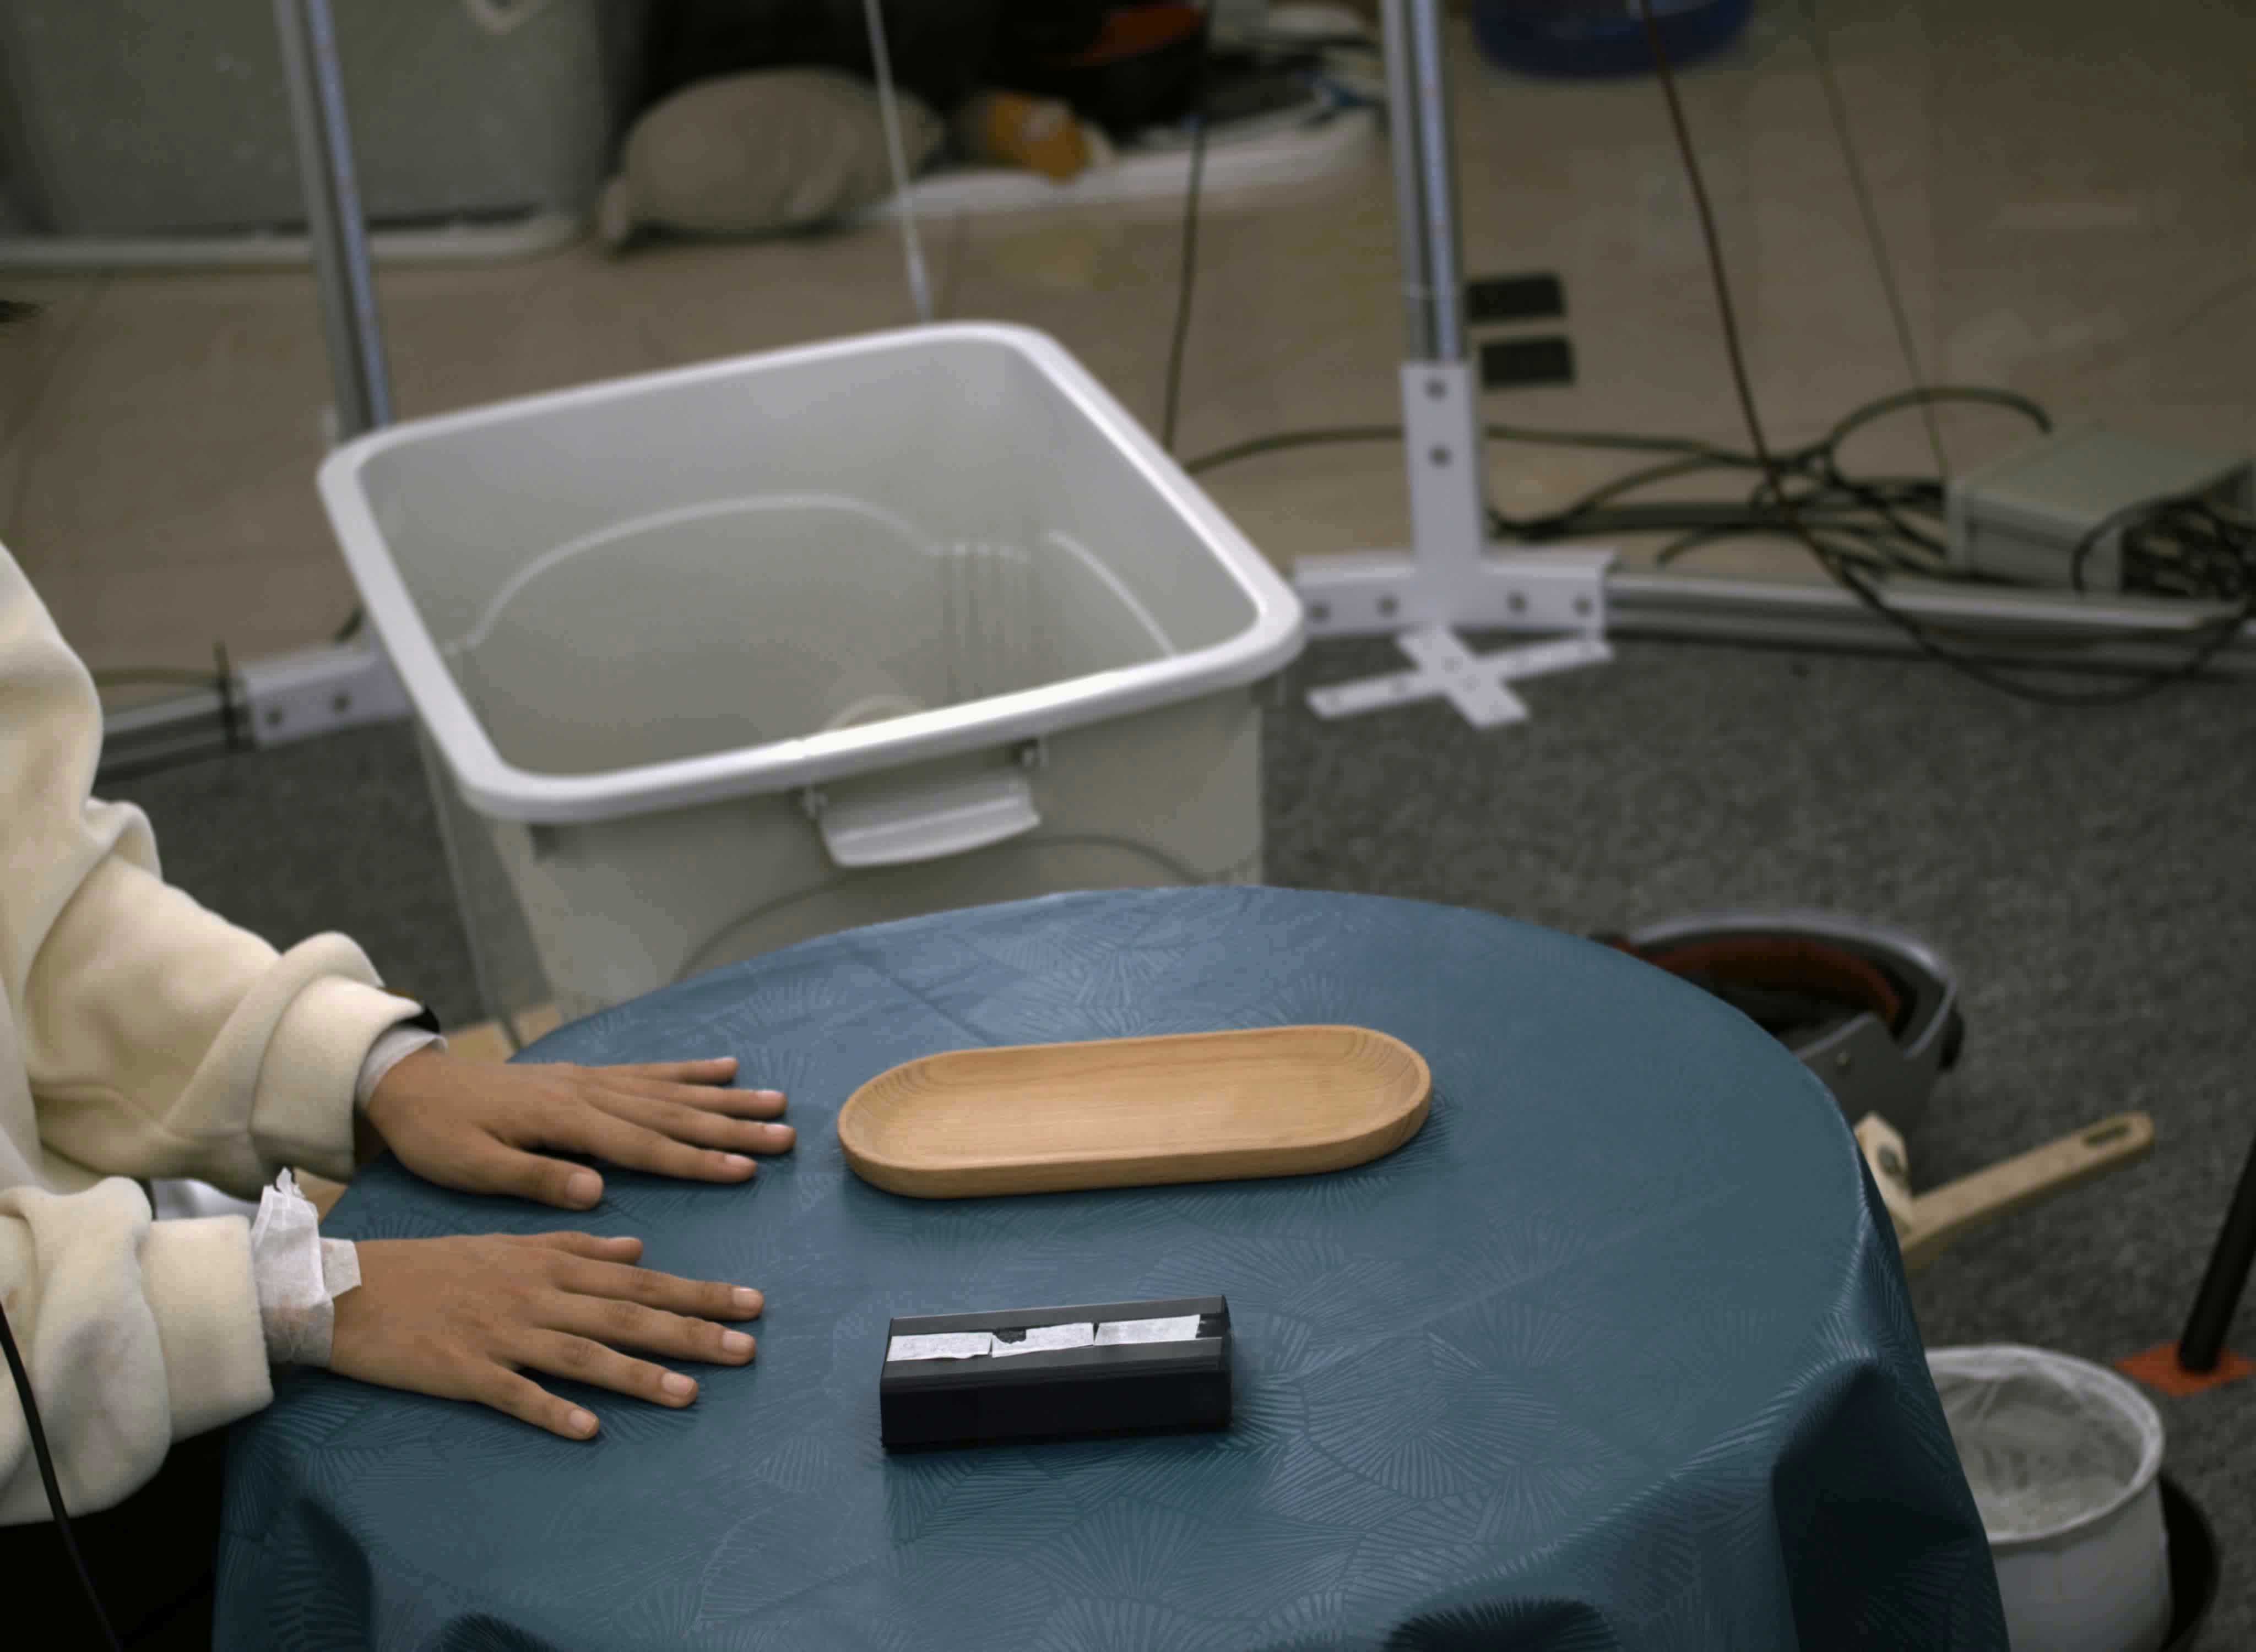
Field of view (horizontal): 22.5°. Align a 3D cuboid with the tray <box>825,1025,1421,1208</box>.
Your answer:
[{"bbox_3d":[-0.002,0.113,2.187,0.231,0.020,0.100,-7,24,4],"label":"tray"}]

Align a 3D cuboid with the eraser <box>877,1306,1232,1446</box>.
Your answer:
[{"bbox_3d":[-0.024,0.193,2.002,0.125,0.031,0.053,-3,19,4],"label":"eraser"}]
